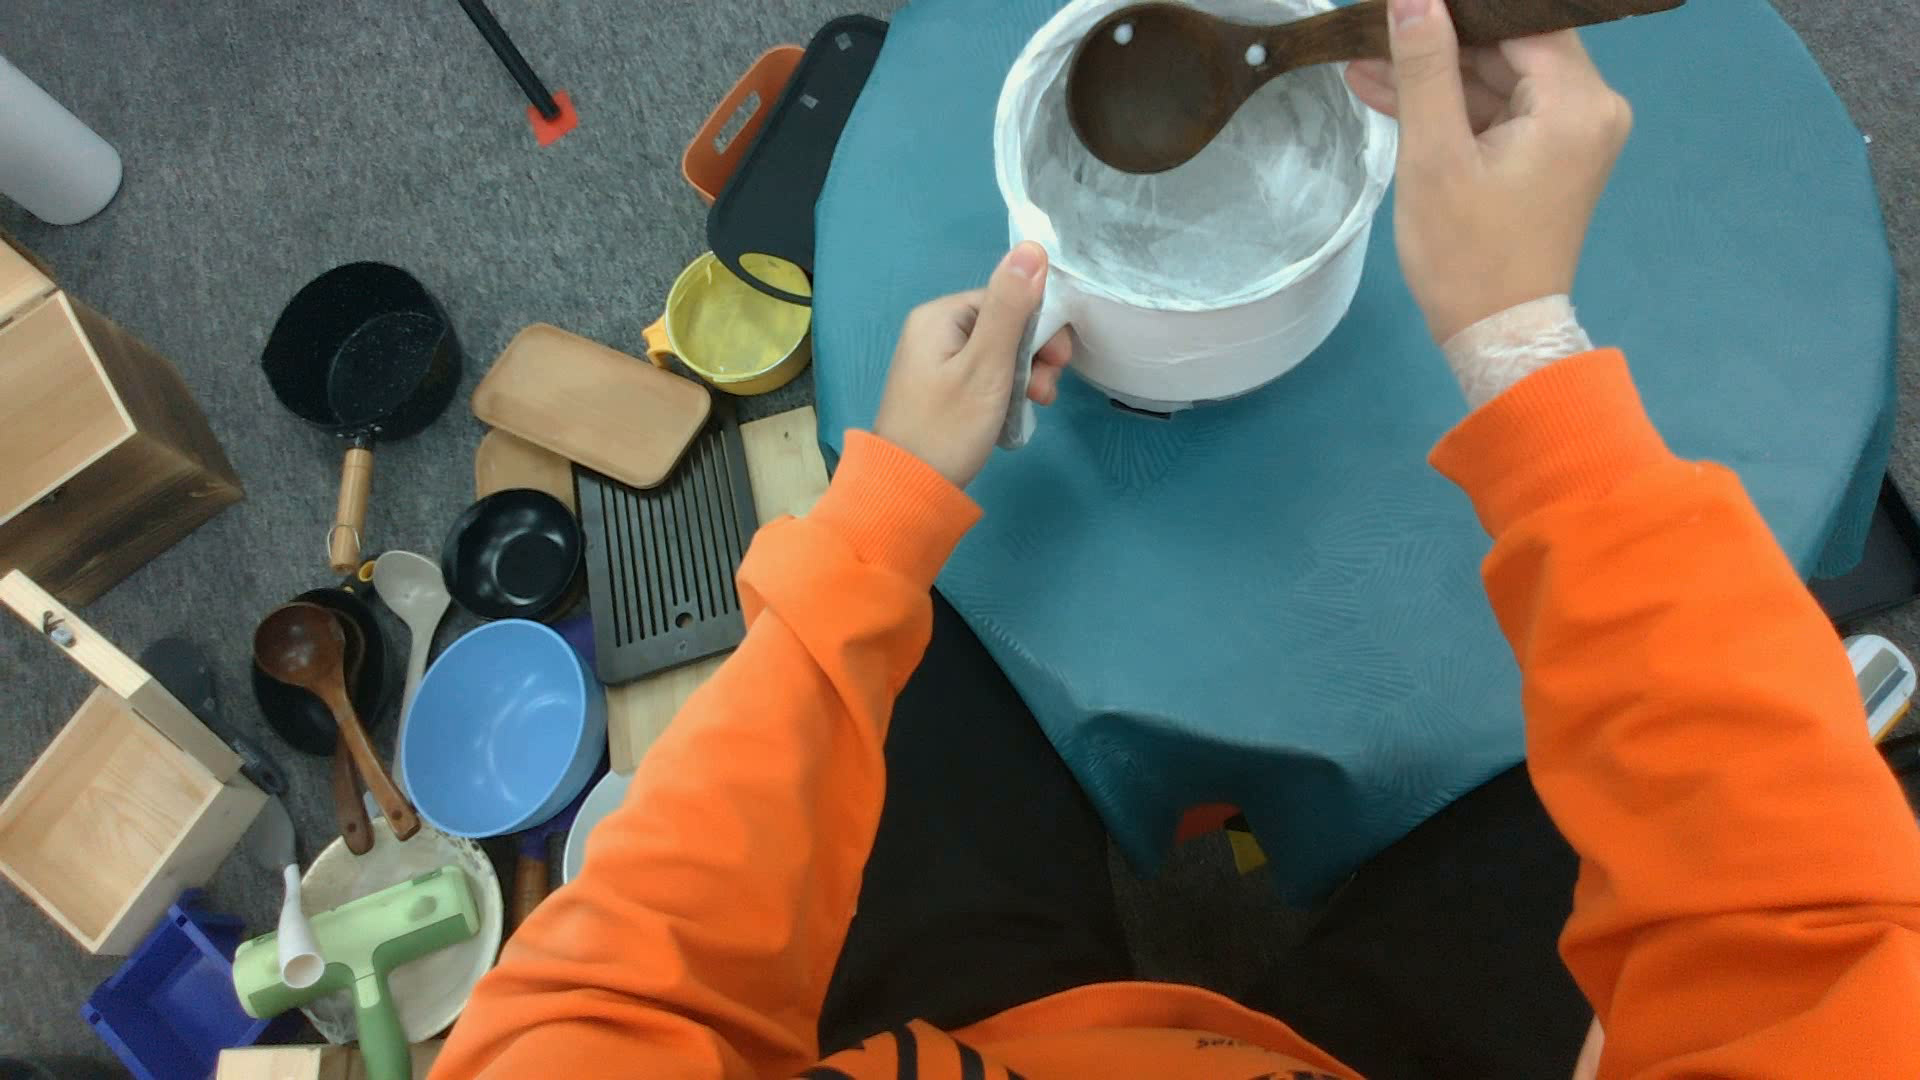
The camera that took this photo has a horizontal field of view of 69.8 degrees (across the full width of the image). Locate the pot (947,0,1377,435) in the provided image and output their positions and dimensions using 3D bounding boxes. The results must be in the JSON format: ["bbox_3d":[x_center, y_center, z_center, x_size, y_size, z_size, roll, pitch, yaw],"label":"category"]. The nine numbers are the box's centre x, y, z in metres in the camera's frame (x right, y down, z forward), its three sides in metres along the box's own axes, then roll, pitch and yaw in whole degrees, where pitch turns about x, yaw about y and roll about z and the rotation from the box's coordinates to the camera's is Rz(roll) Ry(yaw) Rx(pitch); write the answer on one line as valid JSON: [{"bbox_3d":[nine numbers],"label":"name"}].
[{"bbox_3d":[0.083,-0.151,0.670,0.179,0.136,0.234,42,82,18],"label":"pot"}]

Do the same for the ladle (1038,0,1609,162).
[{"bbox_3d":[0.128,-0.195,0.538,0.071,0.274,0.076,-31,113,-21],"label":"ladle"}]
